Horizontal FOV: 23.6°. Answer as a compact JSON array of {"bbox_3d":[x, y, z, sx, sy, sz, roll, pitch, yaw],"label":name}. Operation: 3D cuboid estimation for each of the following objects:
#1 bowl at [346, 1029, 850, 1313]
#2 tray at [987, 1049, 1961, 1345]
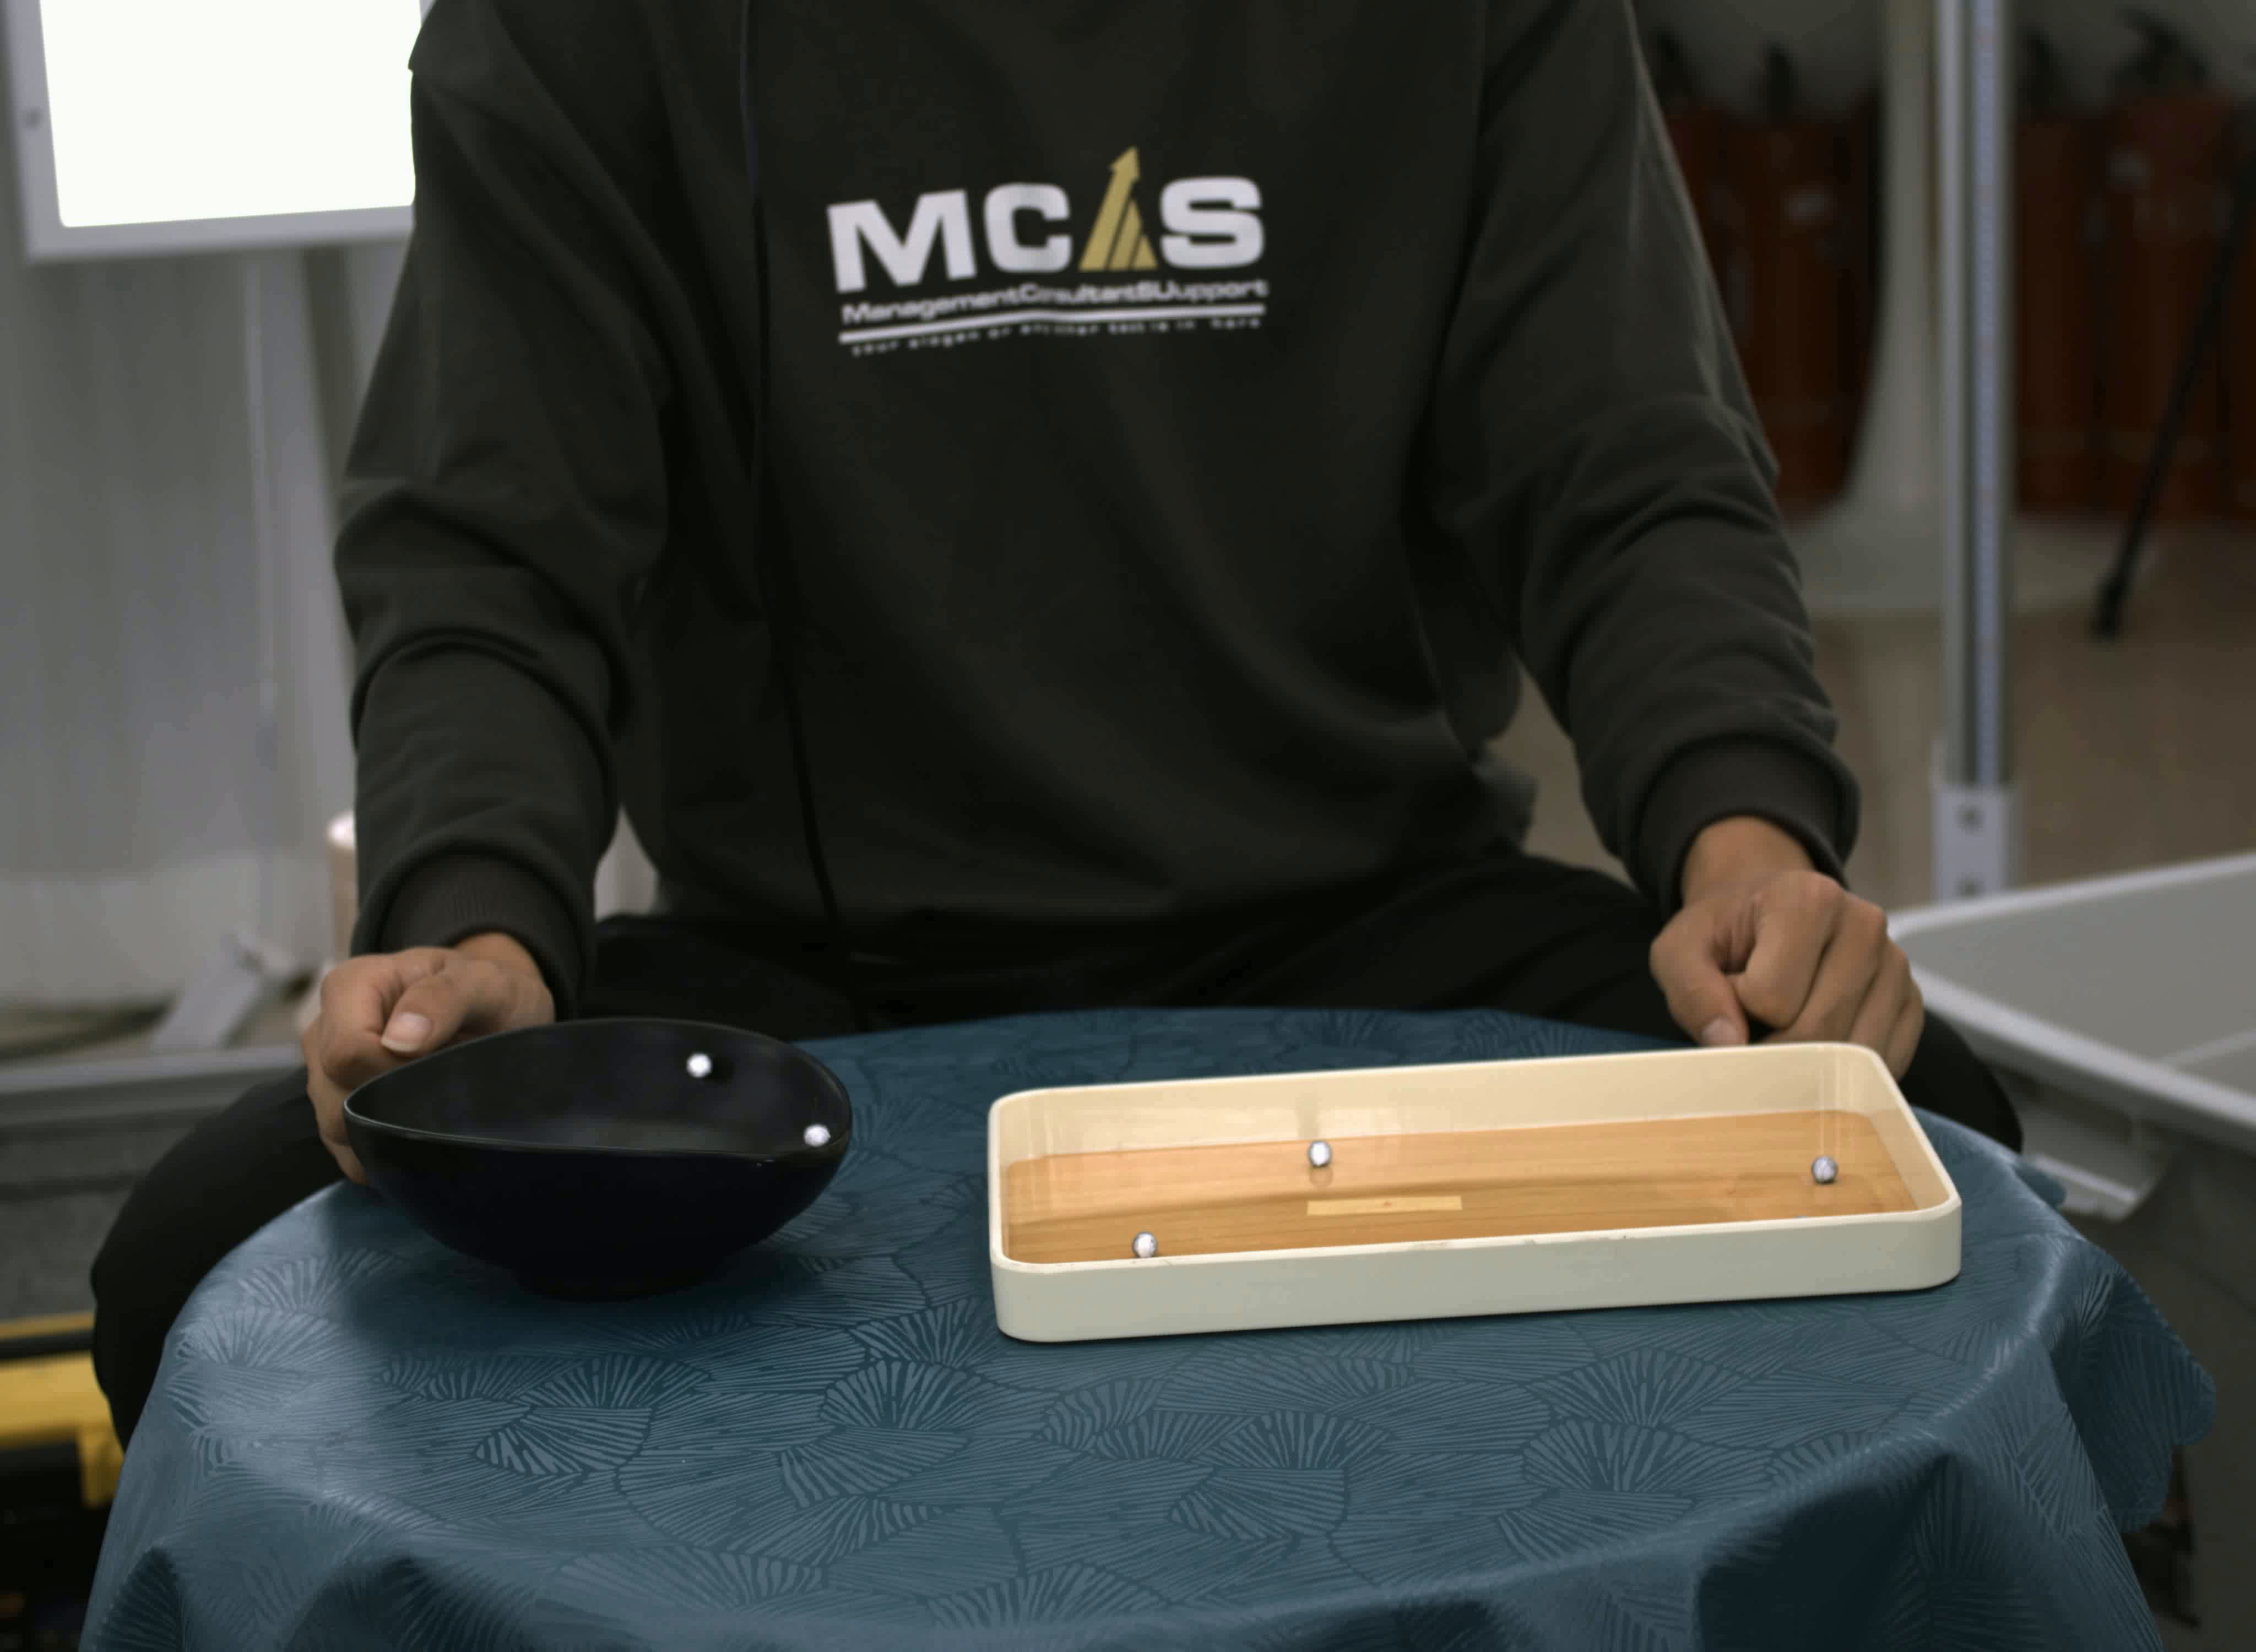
[{"bbox_3d":[-0.166,0.114,1.724,0.170,0.067,0.136,3,16,21],"label":"bowl"},{"bbox_3d":[0.104,0.117,1.712,0.296,0.028,0.192,-4,13,0],"label":"tray"}]
